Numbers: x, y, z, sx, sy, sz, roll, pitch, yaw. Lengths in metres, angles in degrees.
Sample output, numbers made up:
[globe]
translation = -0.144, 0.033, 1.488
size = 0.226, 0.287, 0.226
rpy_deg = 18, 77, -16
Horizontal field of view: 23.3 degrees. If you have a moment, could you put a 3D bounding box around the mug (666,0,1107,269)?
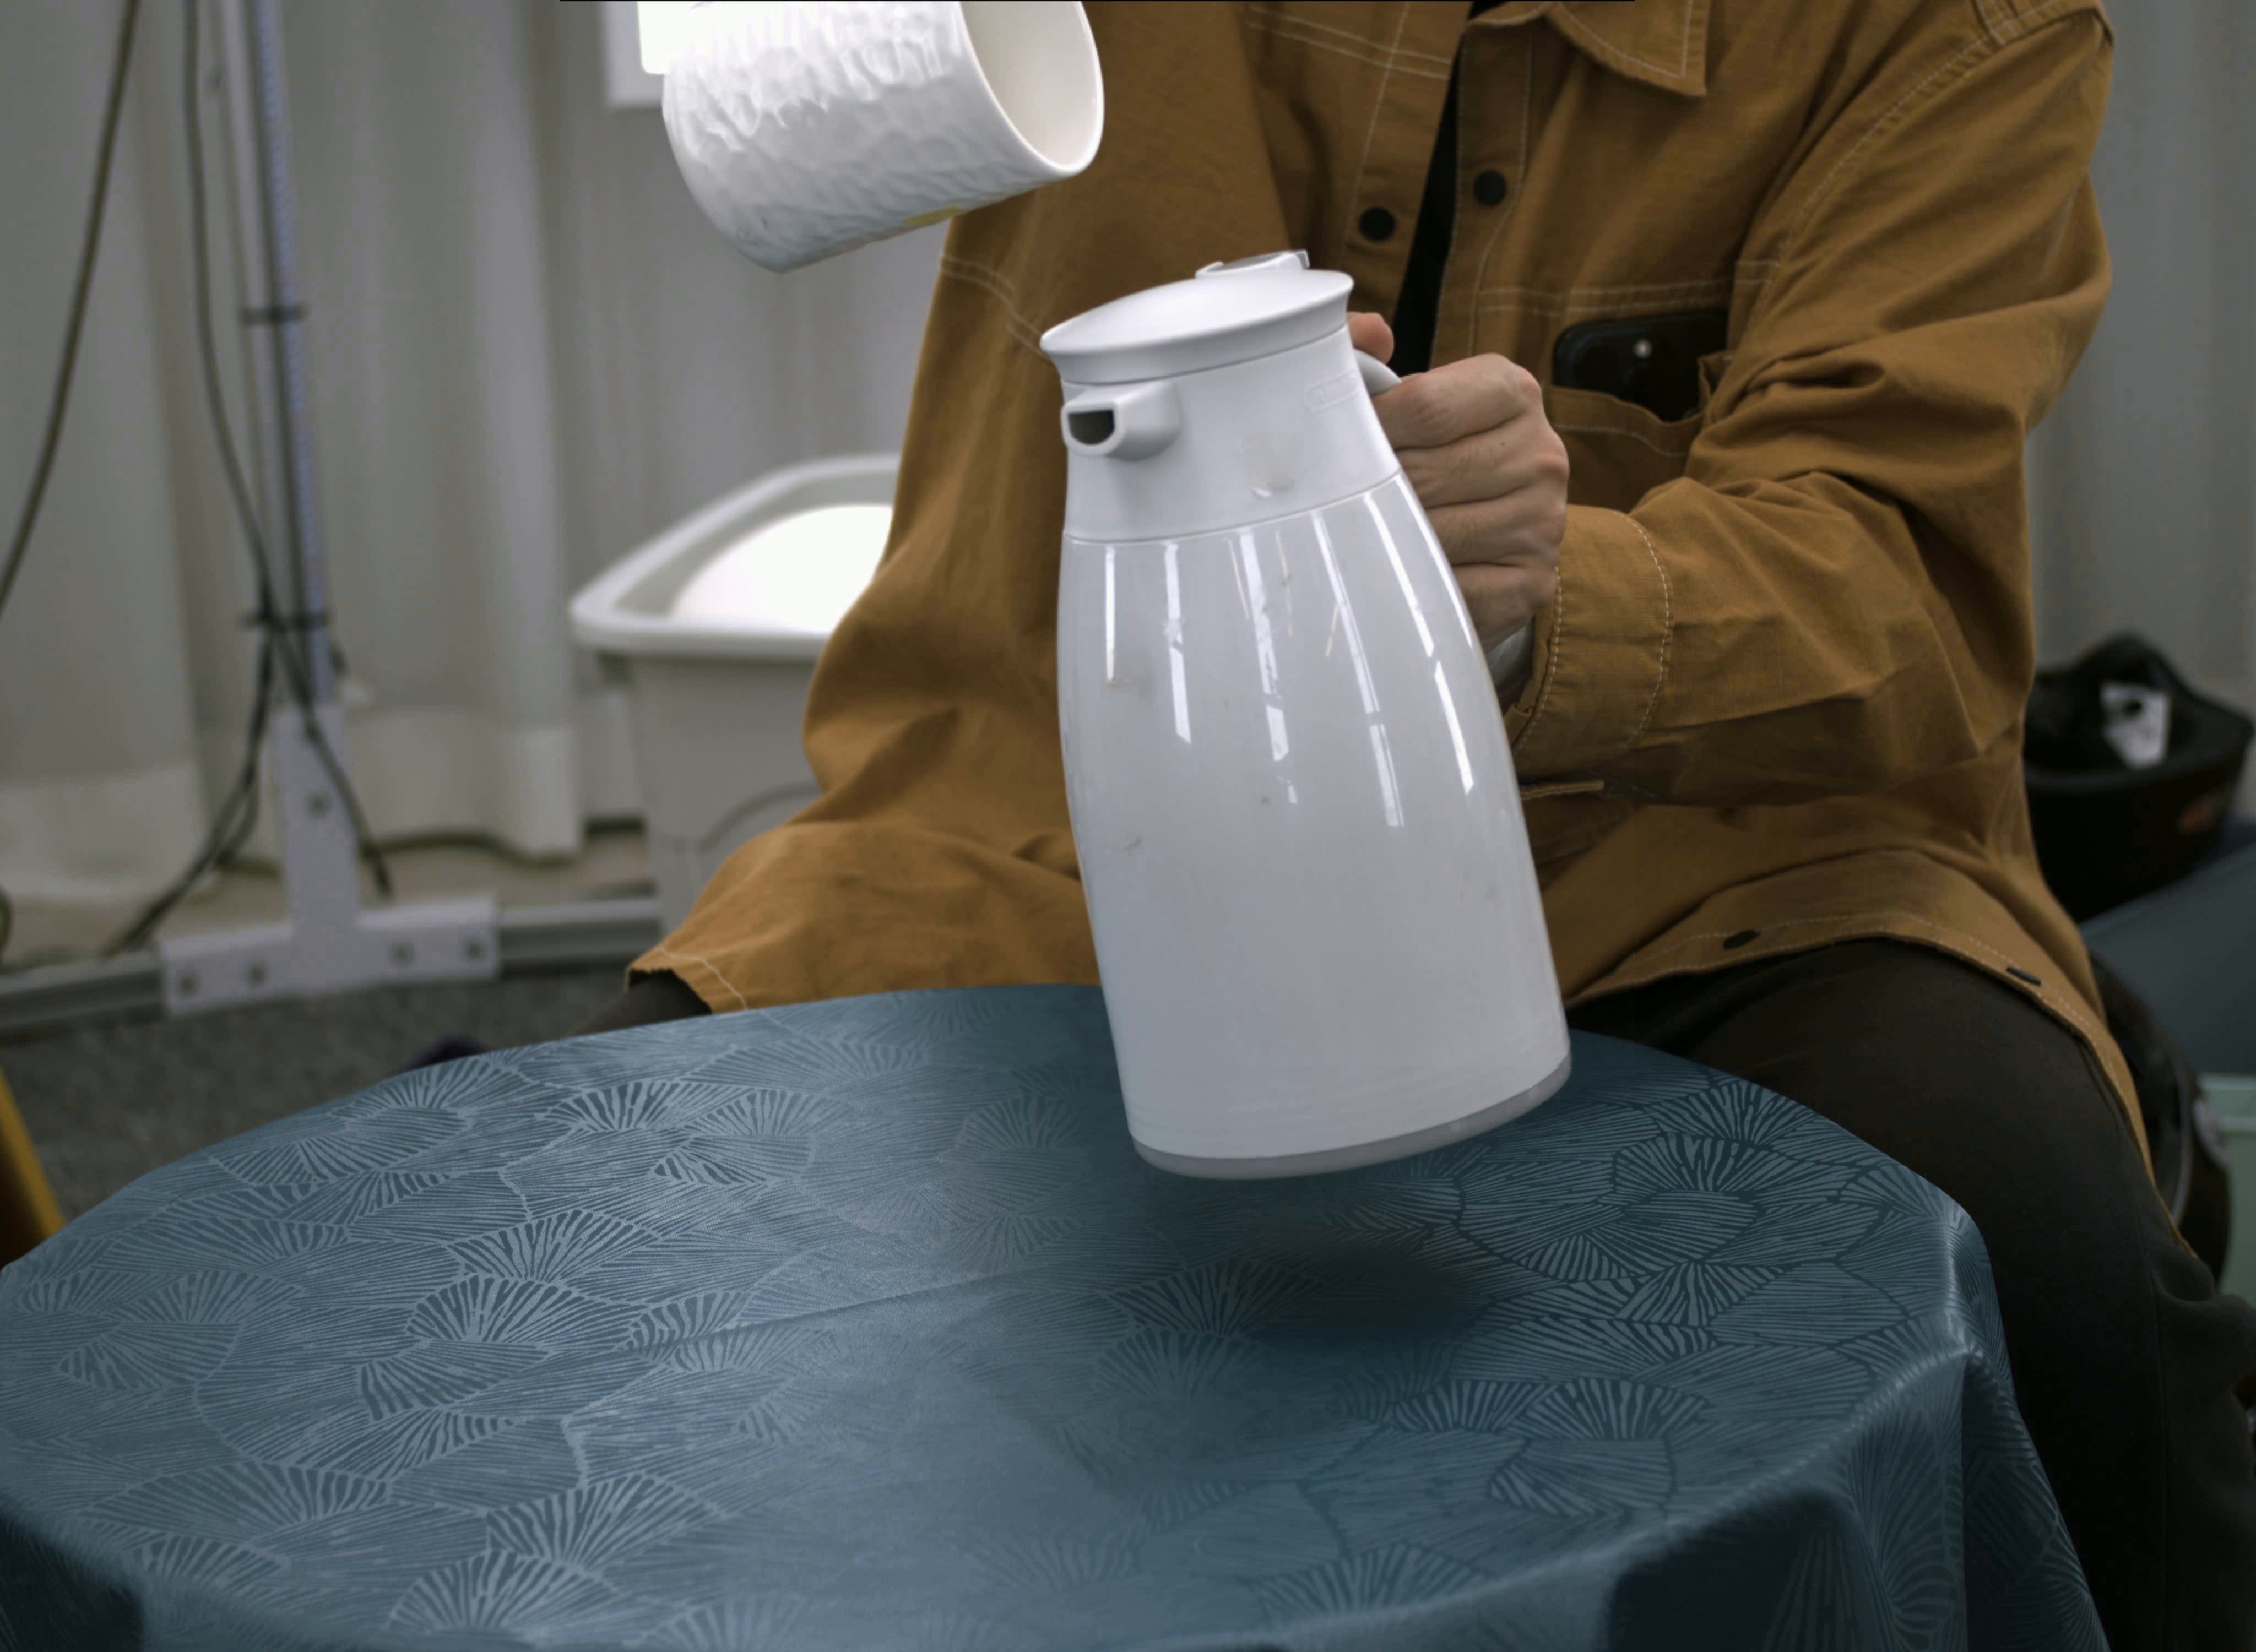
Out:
[mug]
translation = -0.074, -0.230, 1.583
size = 0.102, 0.119, 0.084
rpy_deg = -17, -7, 26

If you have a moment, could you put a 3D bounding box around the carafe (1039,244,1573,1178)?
[carafe]
translation = 0.051, -0.042, 1.597
size = 0.132, 0.248, 0.168
rpy_deg = -5, 13, 33
